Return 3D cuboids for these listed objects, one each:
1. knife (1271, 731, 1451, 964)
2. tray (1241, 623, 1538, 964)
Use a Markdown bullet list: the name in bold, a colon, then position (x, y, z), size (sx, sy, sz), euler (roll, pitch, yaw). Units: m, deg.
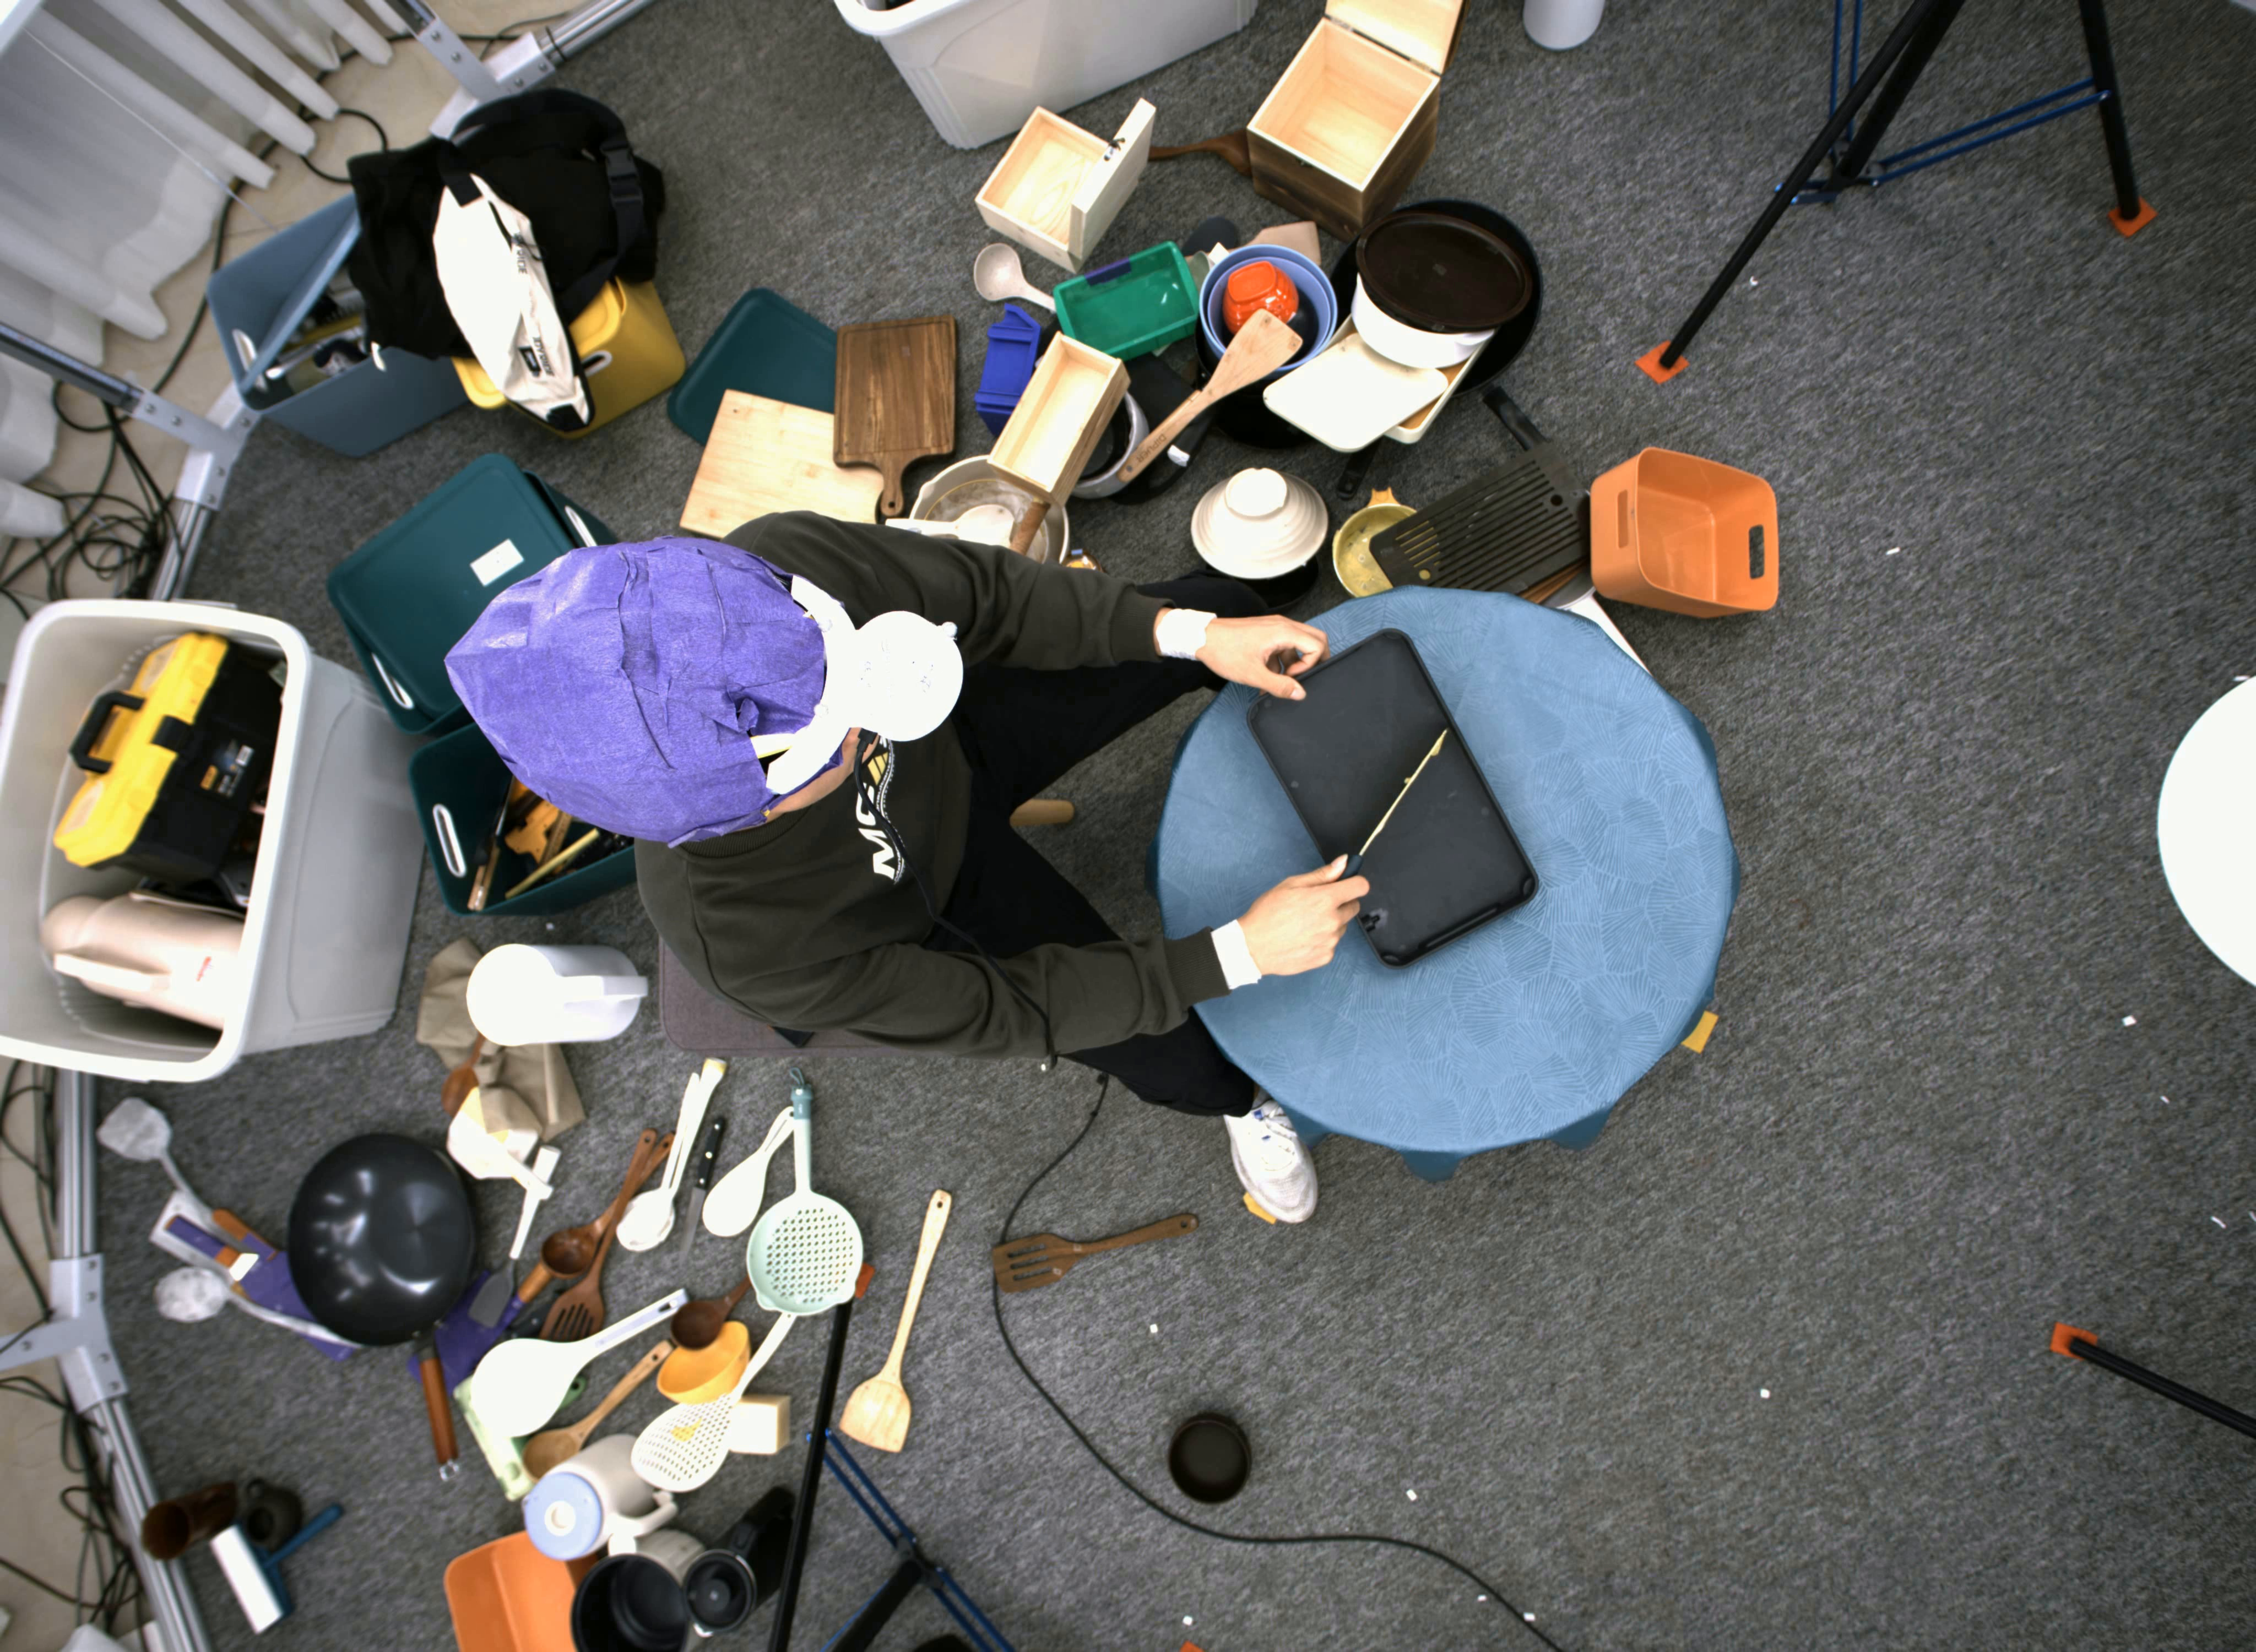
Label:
- **knife**: position (0.237, 0.019, 1.386), size (0.027, 0.081, 0.291), euler (38, 96, 11)
- **tray**: position (0.266, -0.033, 1.403), size (0.185, 0.036, 0.319), euler (-30, 99, 10)
